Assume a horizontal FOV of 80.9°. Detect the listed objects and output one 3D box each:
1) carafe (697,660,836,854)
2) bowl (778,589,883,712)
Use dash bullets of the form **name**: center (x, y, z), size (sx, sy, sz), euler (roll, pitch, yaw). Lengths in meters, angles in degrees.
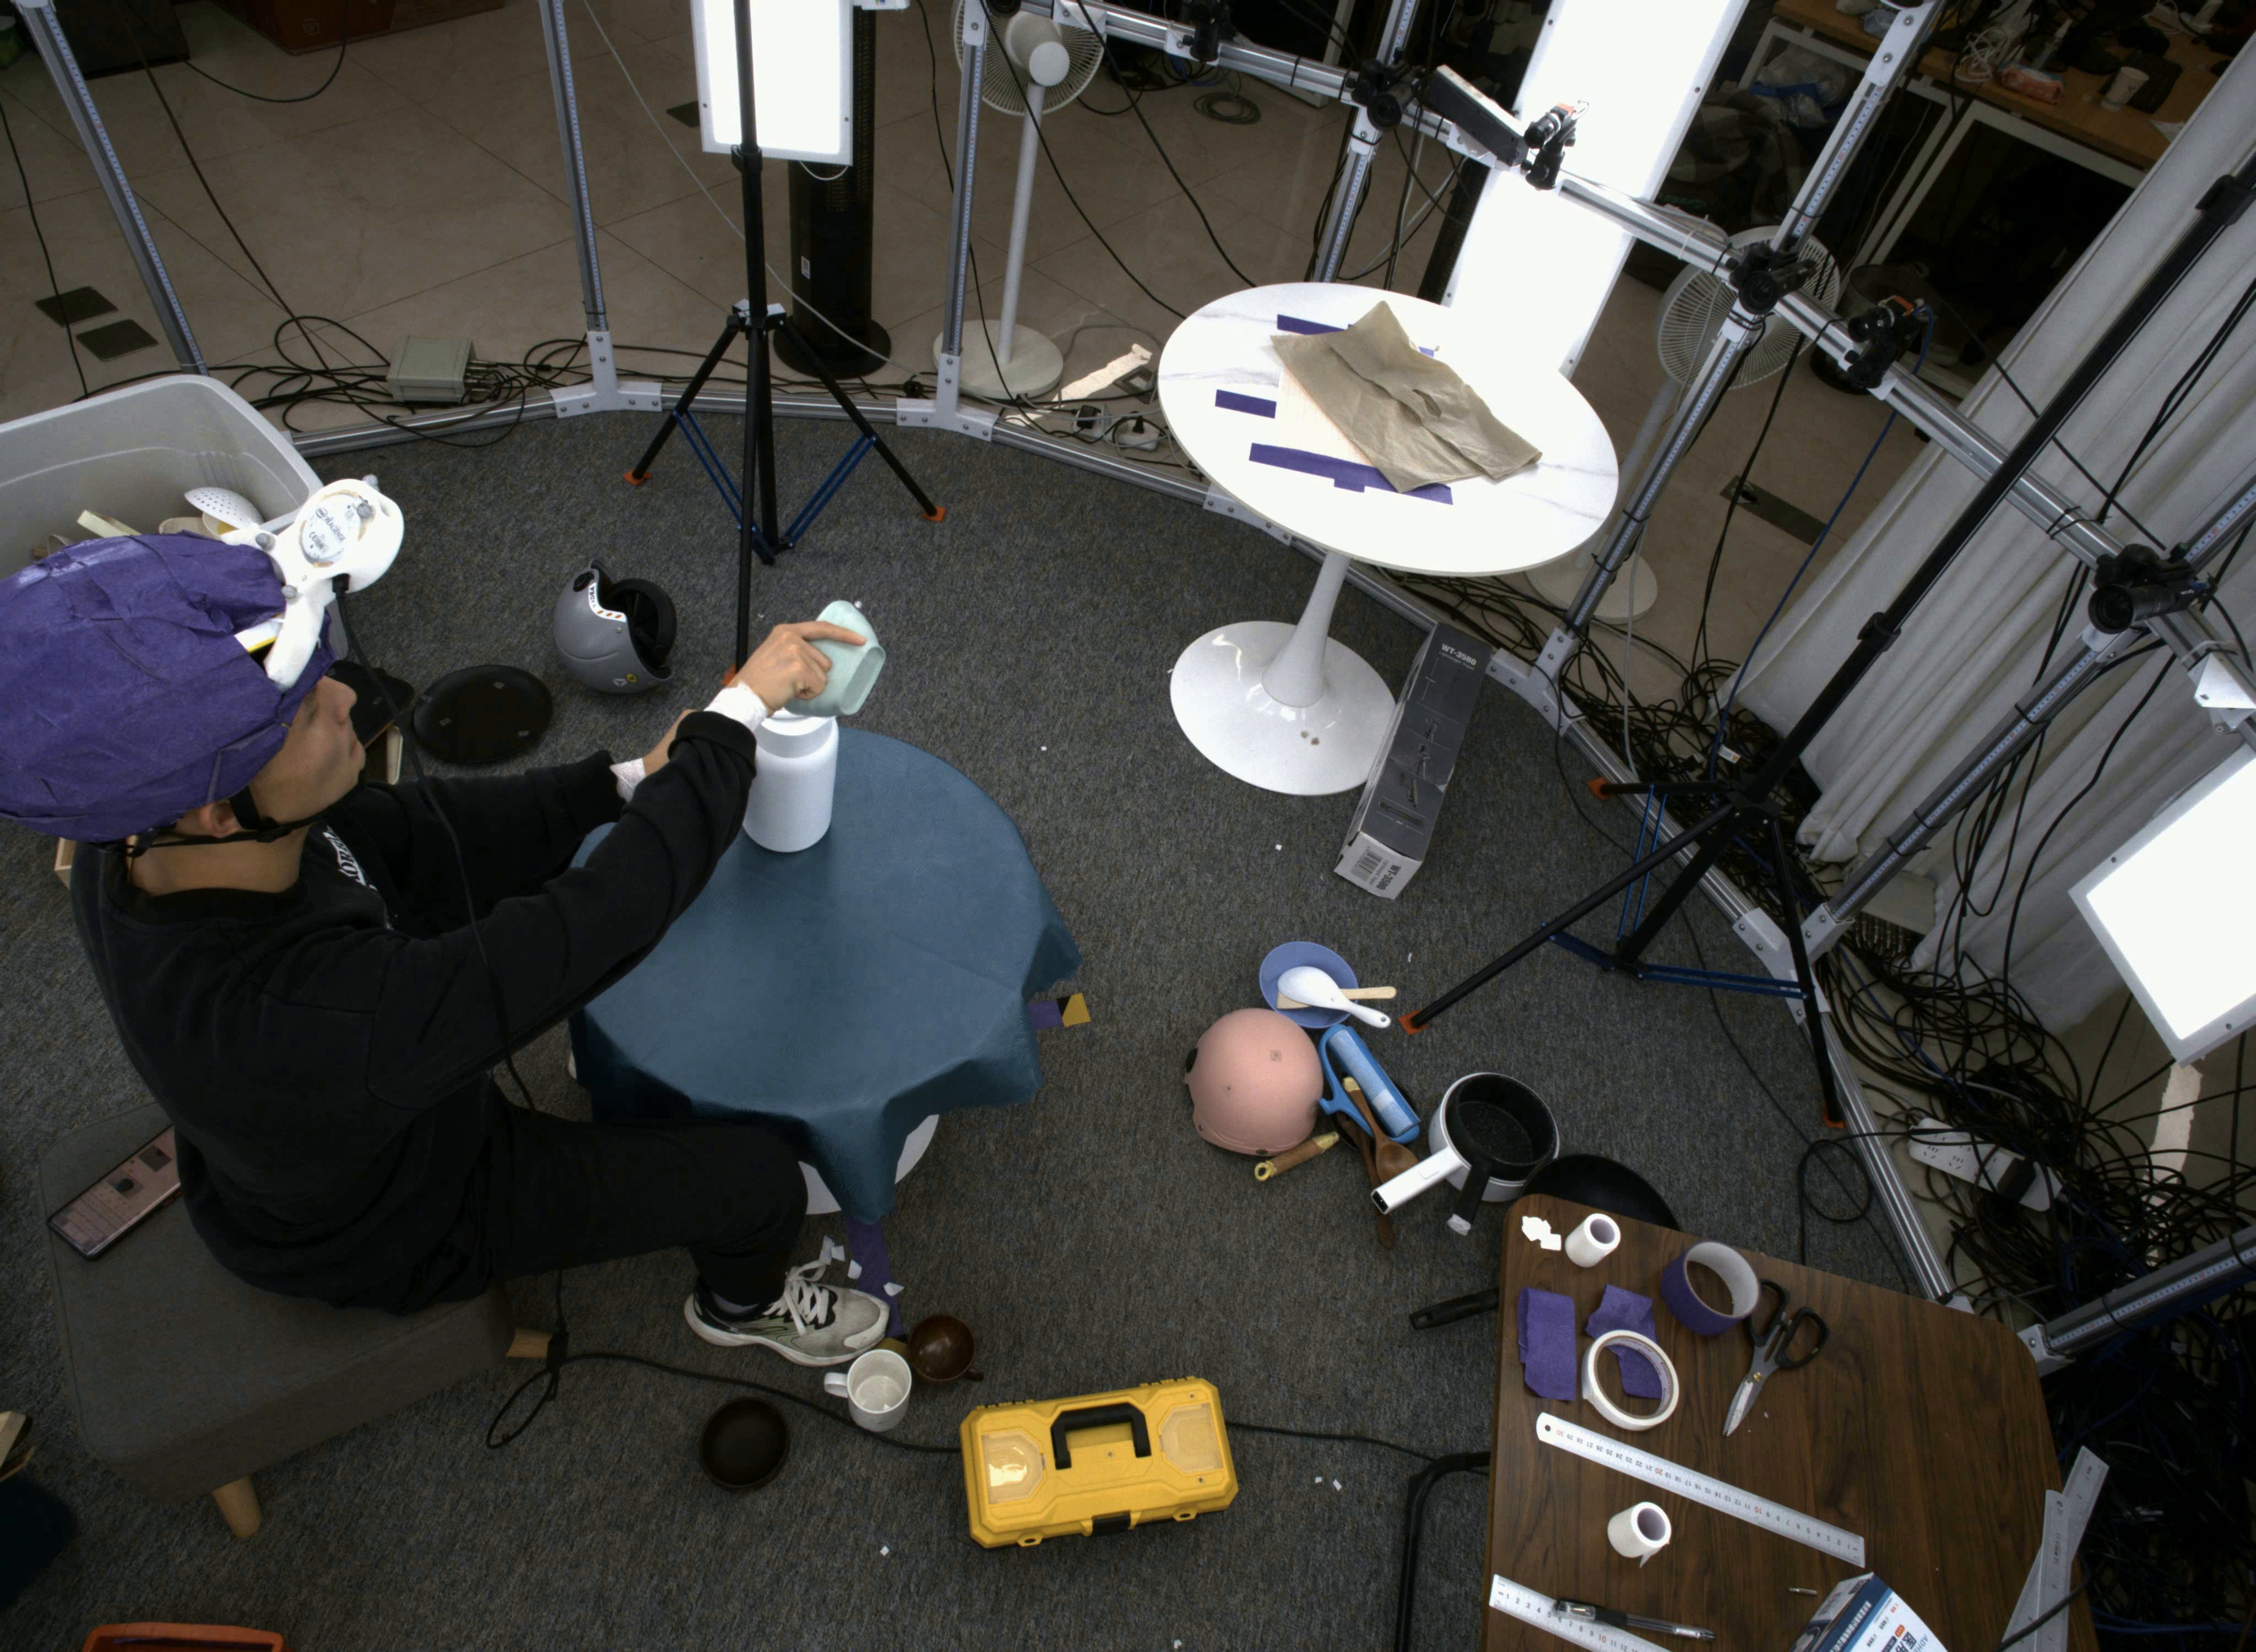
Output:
- **carafe**: center (-0.440, -0.079, 1.598), size (0.174, 0.272, 0.122), euler (-9, 63, -21)
- **bowl**: center (-0.317, -0.179, 1.412), size (0.058, 0.154, 0.150), euler (27, 51, 3)
